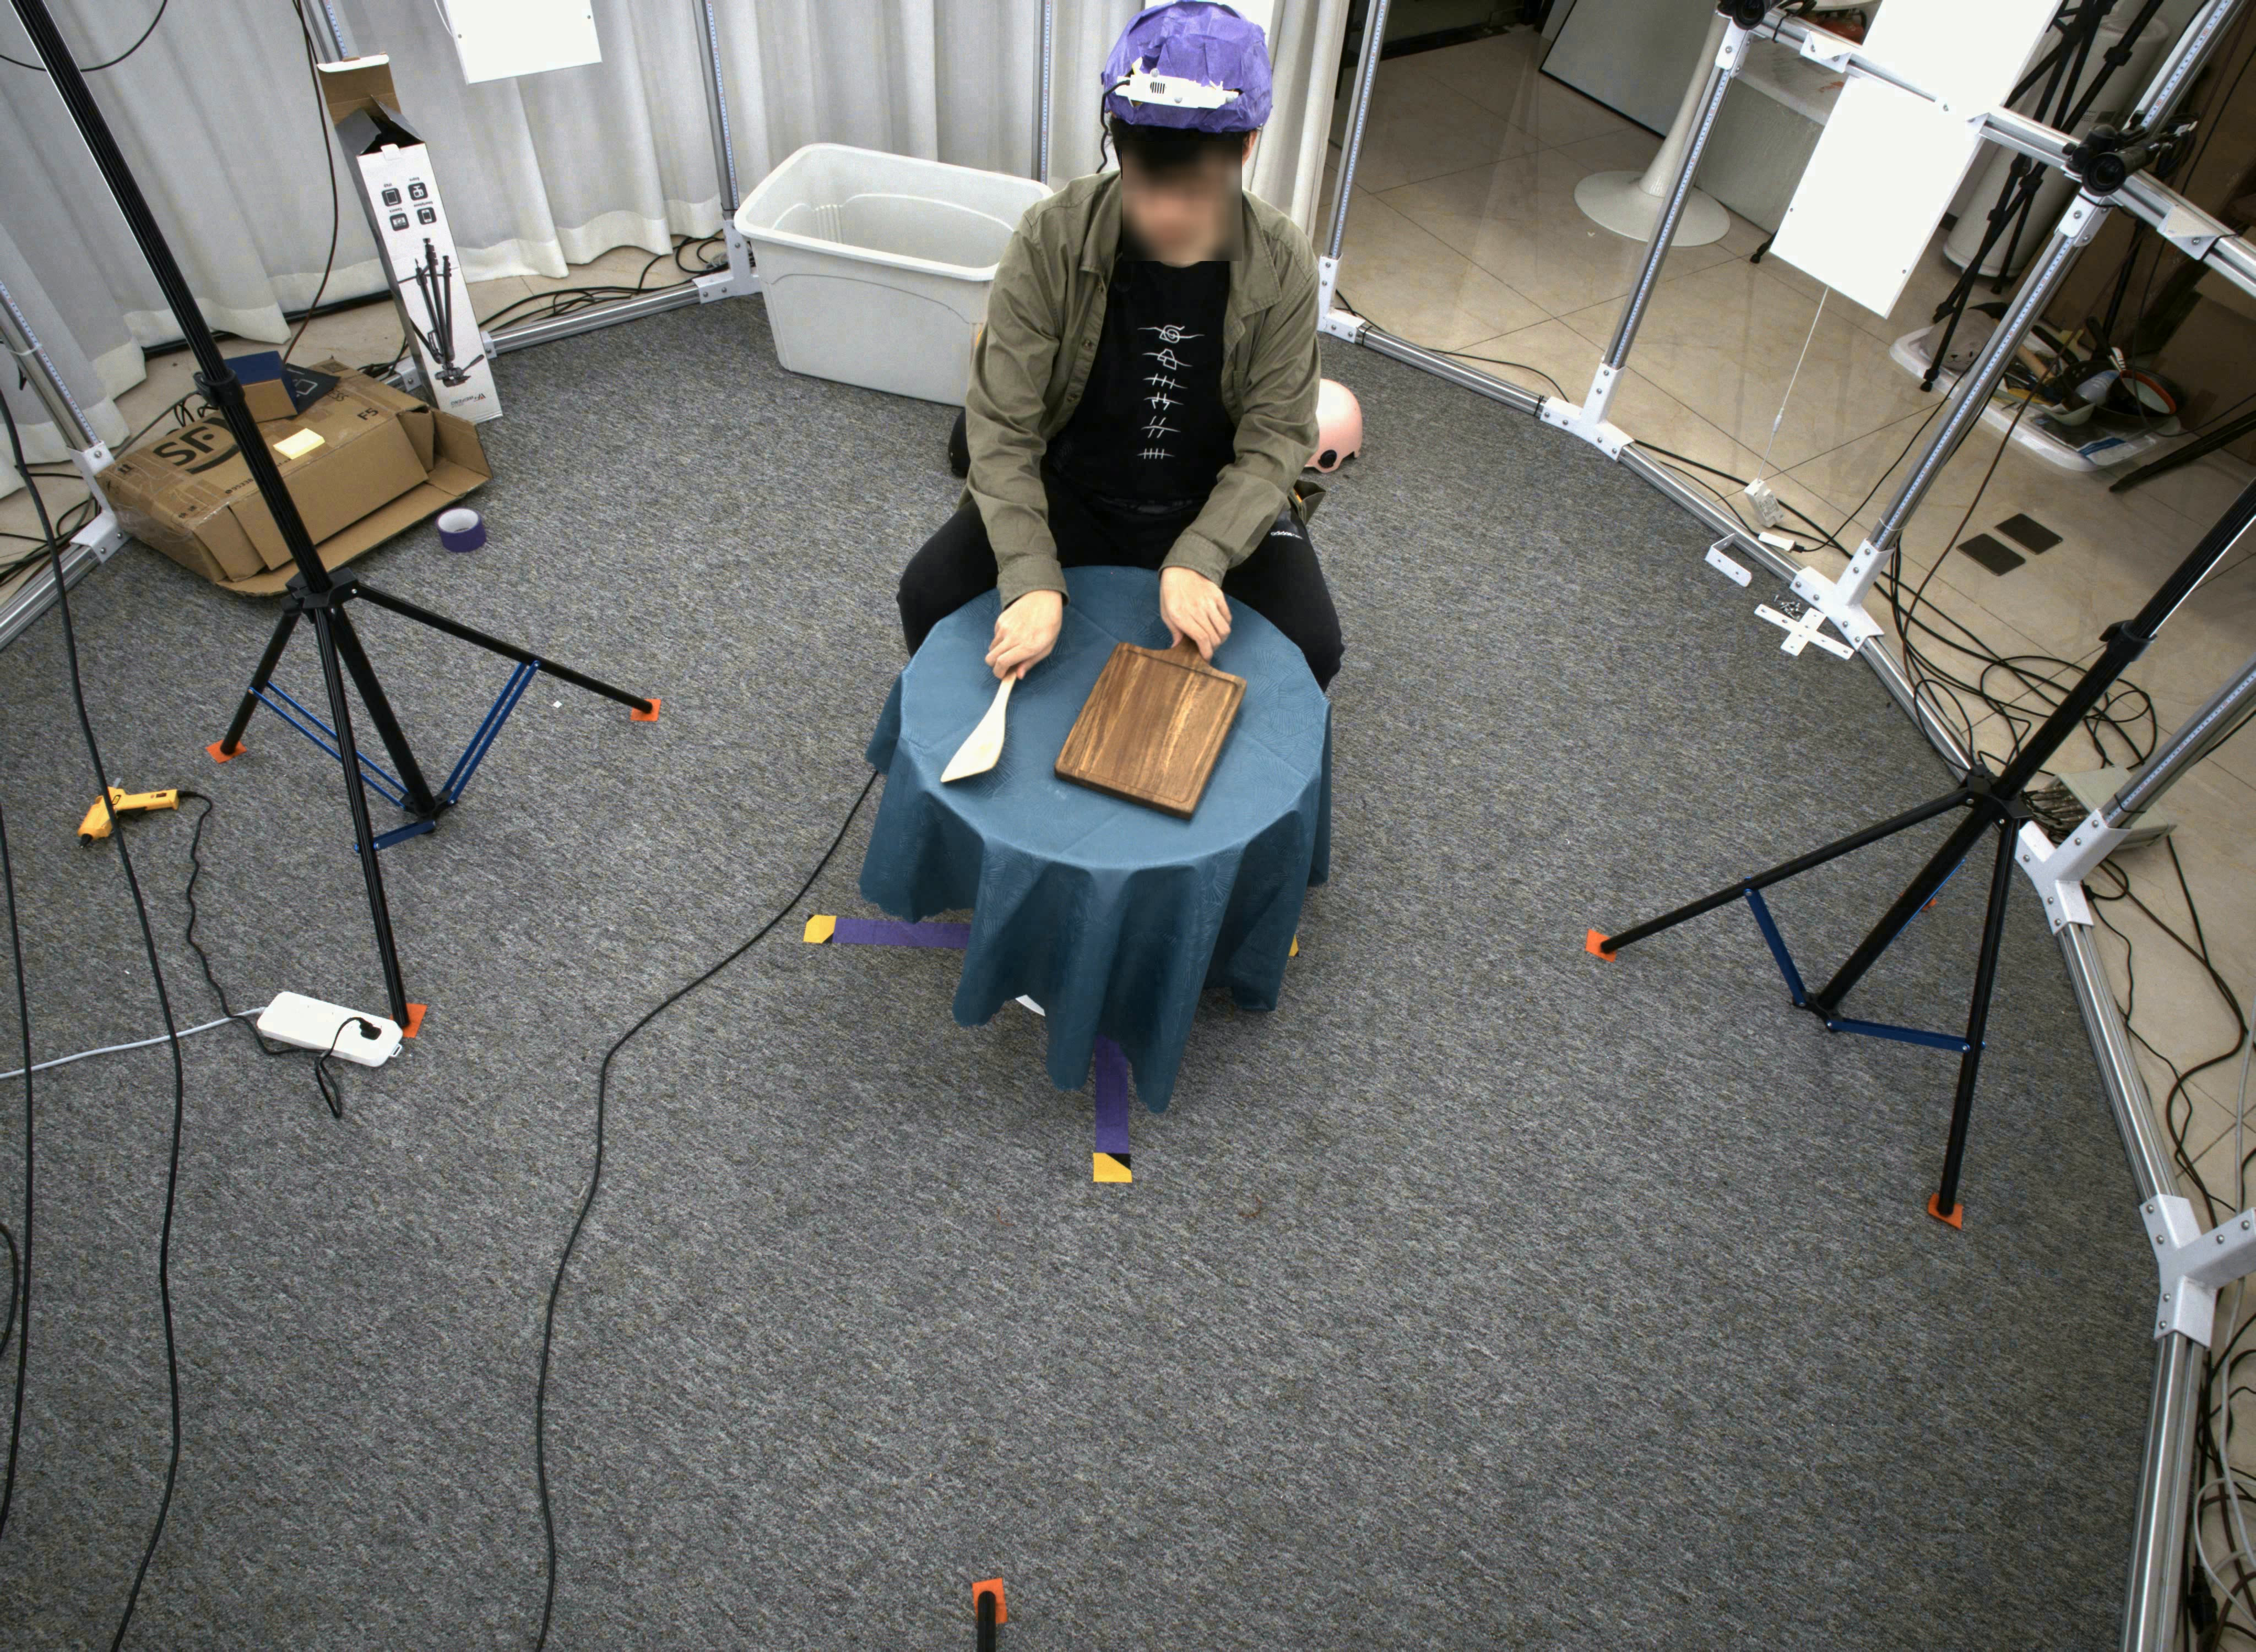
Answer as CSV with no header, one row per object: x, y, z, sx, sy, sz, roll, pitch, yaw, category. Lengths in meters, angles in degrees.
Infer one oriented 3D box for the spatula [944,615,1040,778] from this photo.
-0.172,-0.186,1.774,0.080,0.016,0.335,-7,46,25,spatula

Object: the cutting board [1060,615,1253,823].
0.060,-0.168,1.778,0.202,0.022,0.359,18,55,11,cutting board
